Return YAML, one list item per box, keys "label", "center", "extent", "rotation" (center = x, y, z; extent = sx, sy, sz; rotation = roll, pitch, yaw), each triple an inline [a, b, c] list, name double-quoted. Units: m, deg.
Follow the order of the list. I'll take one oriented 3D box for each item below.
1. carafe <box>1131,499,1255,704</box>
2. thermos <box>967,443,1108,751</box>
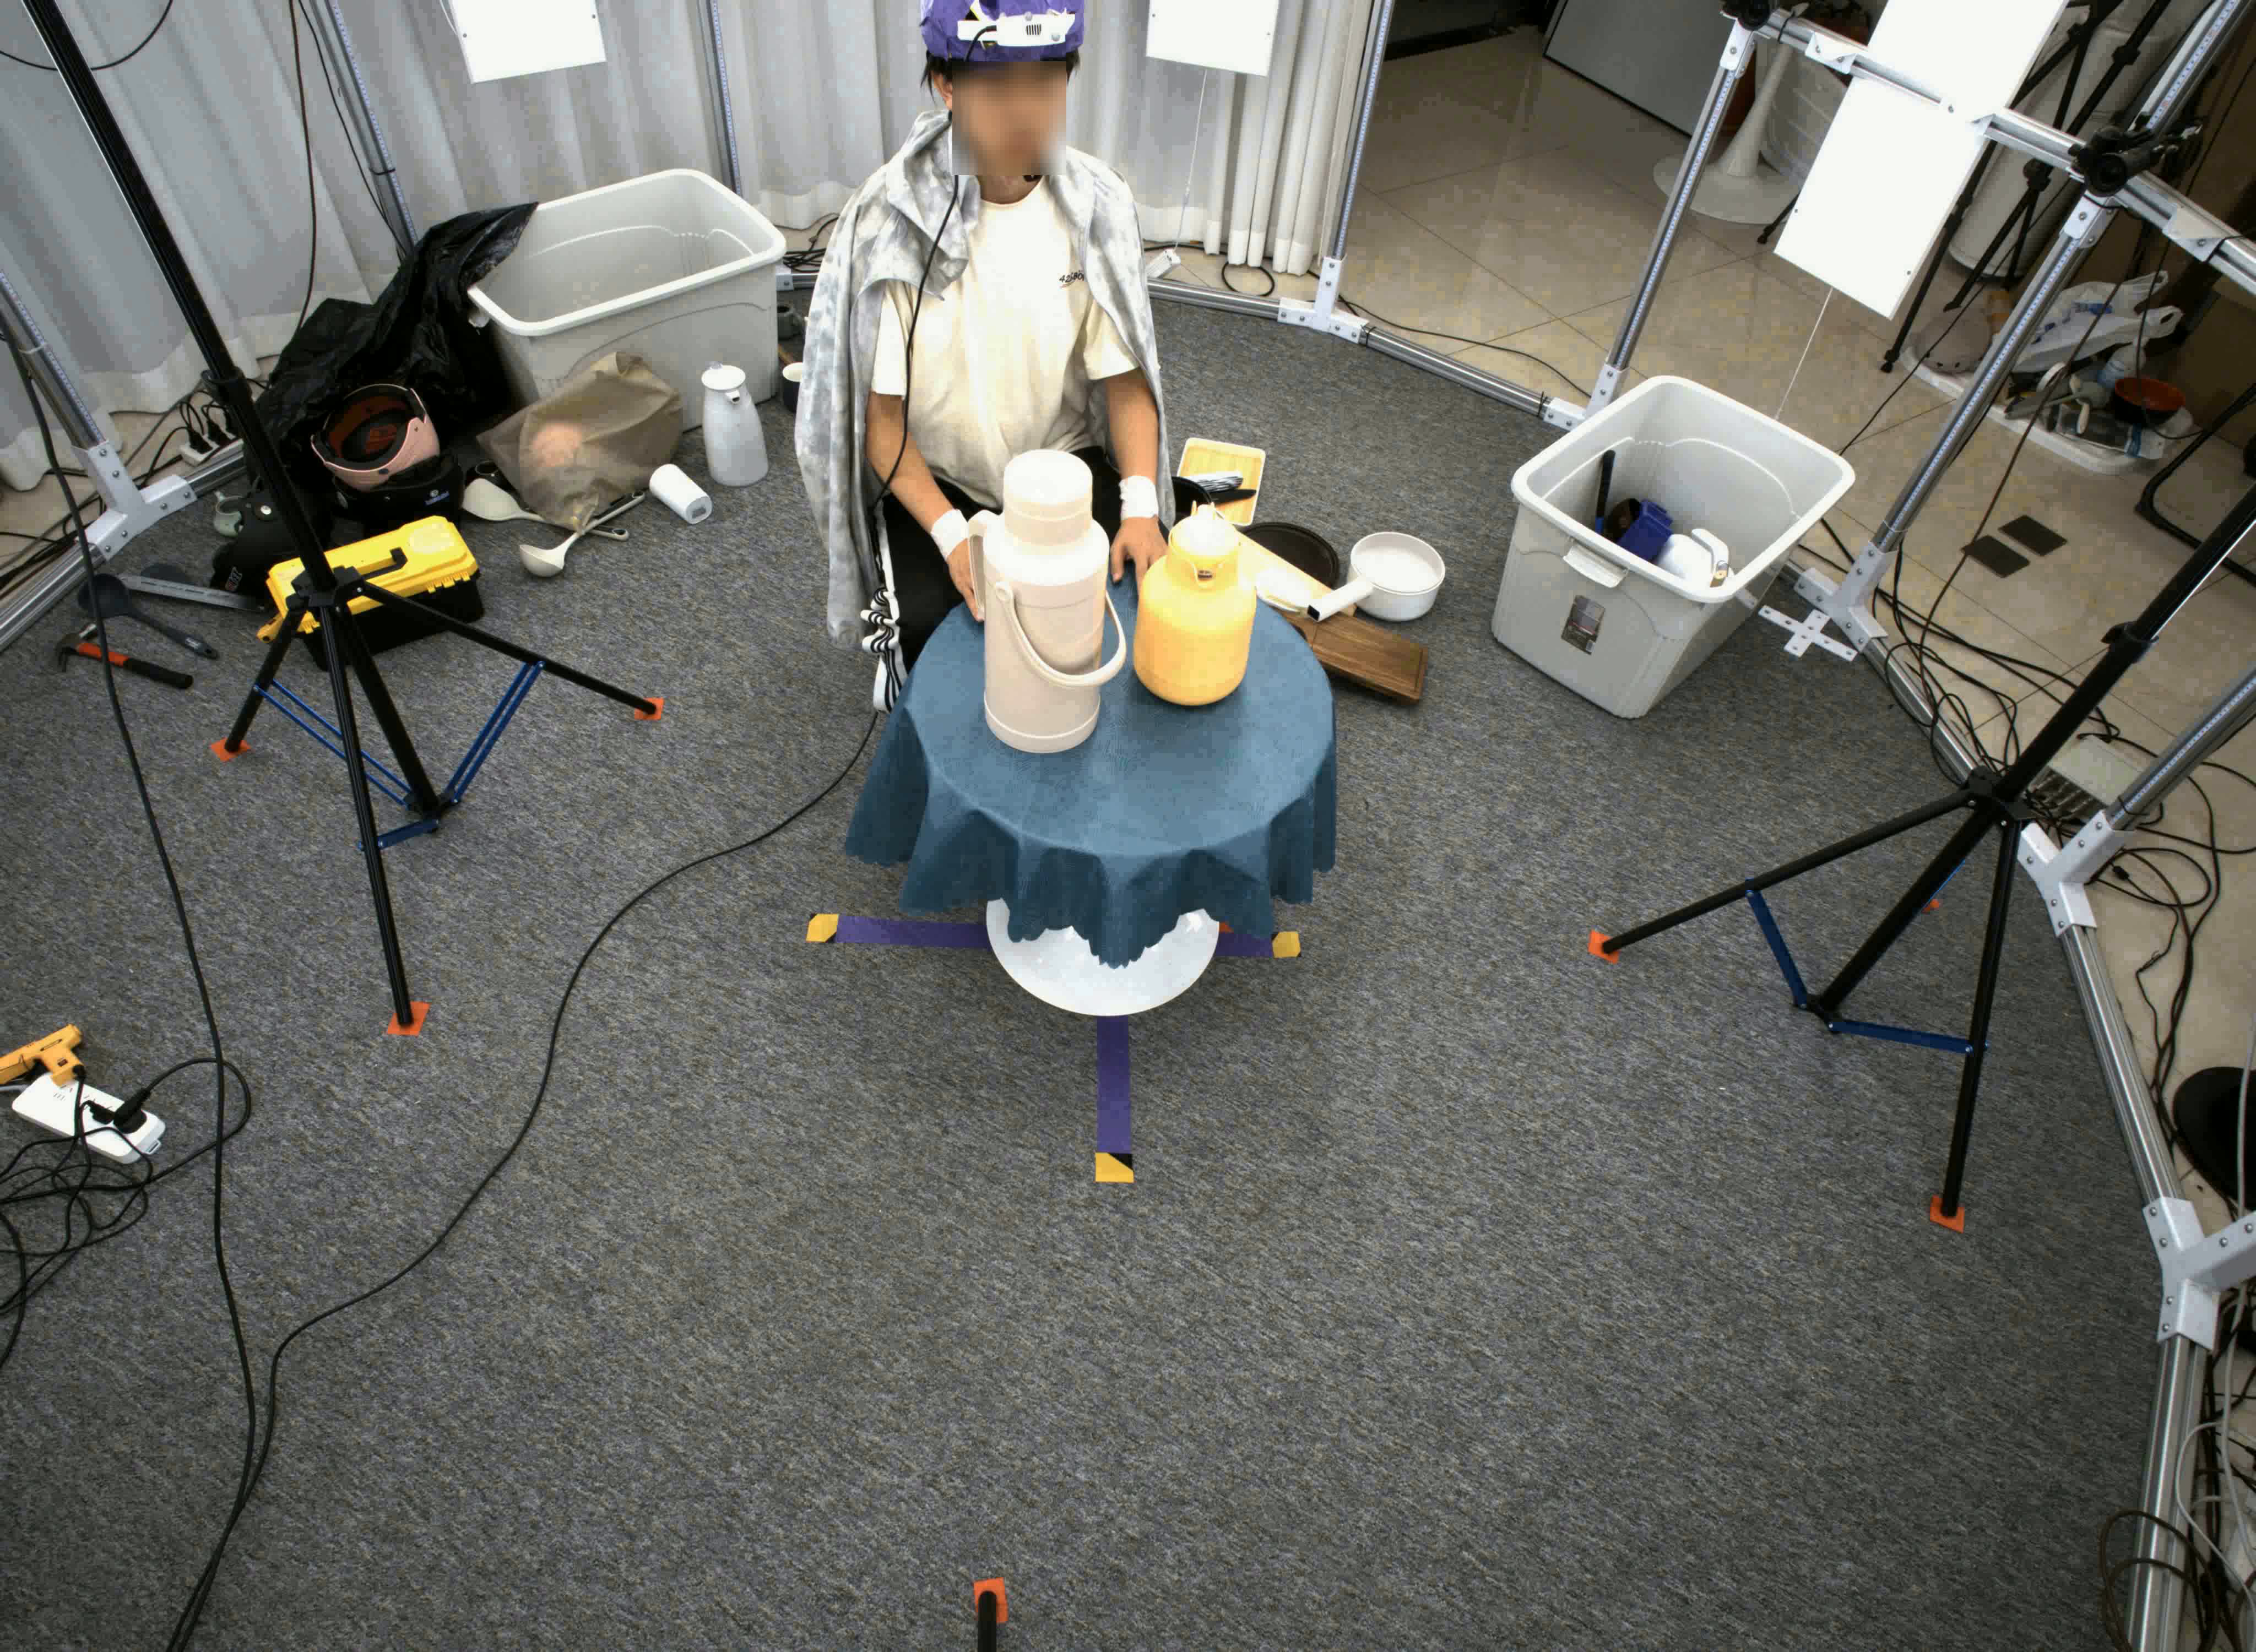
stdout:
- label: "carafe"
  center: [0.095, -0.317, 1.774]
  extent: [0.163, 0.254, 0.207]
  rotation: [6, 50, -2]
- label: "thermos"
  center: [-0.119, -0.295, 1.652]
  extent: [0.209, 0.396, 0.177]
  rotation: [31, 55, 20]
